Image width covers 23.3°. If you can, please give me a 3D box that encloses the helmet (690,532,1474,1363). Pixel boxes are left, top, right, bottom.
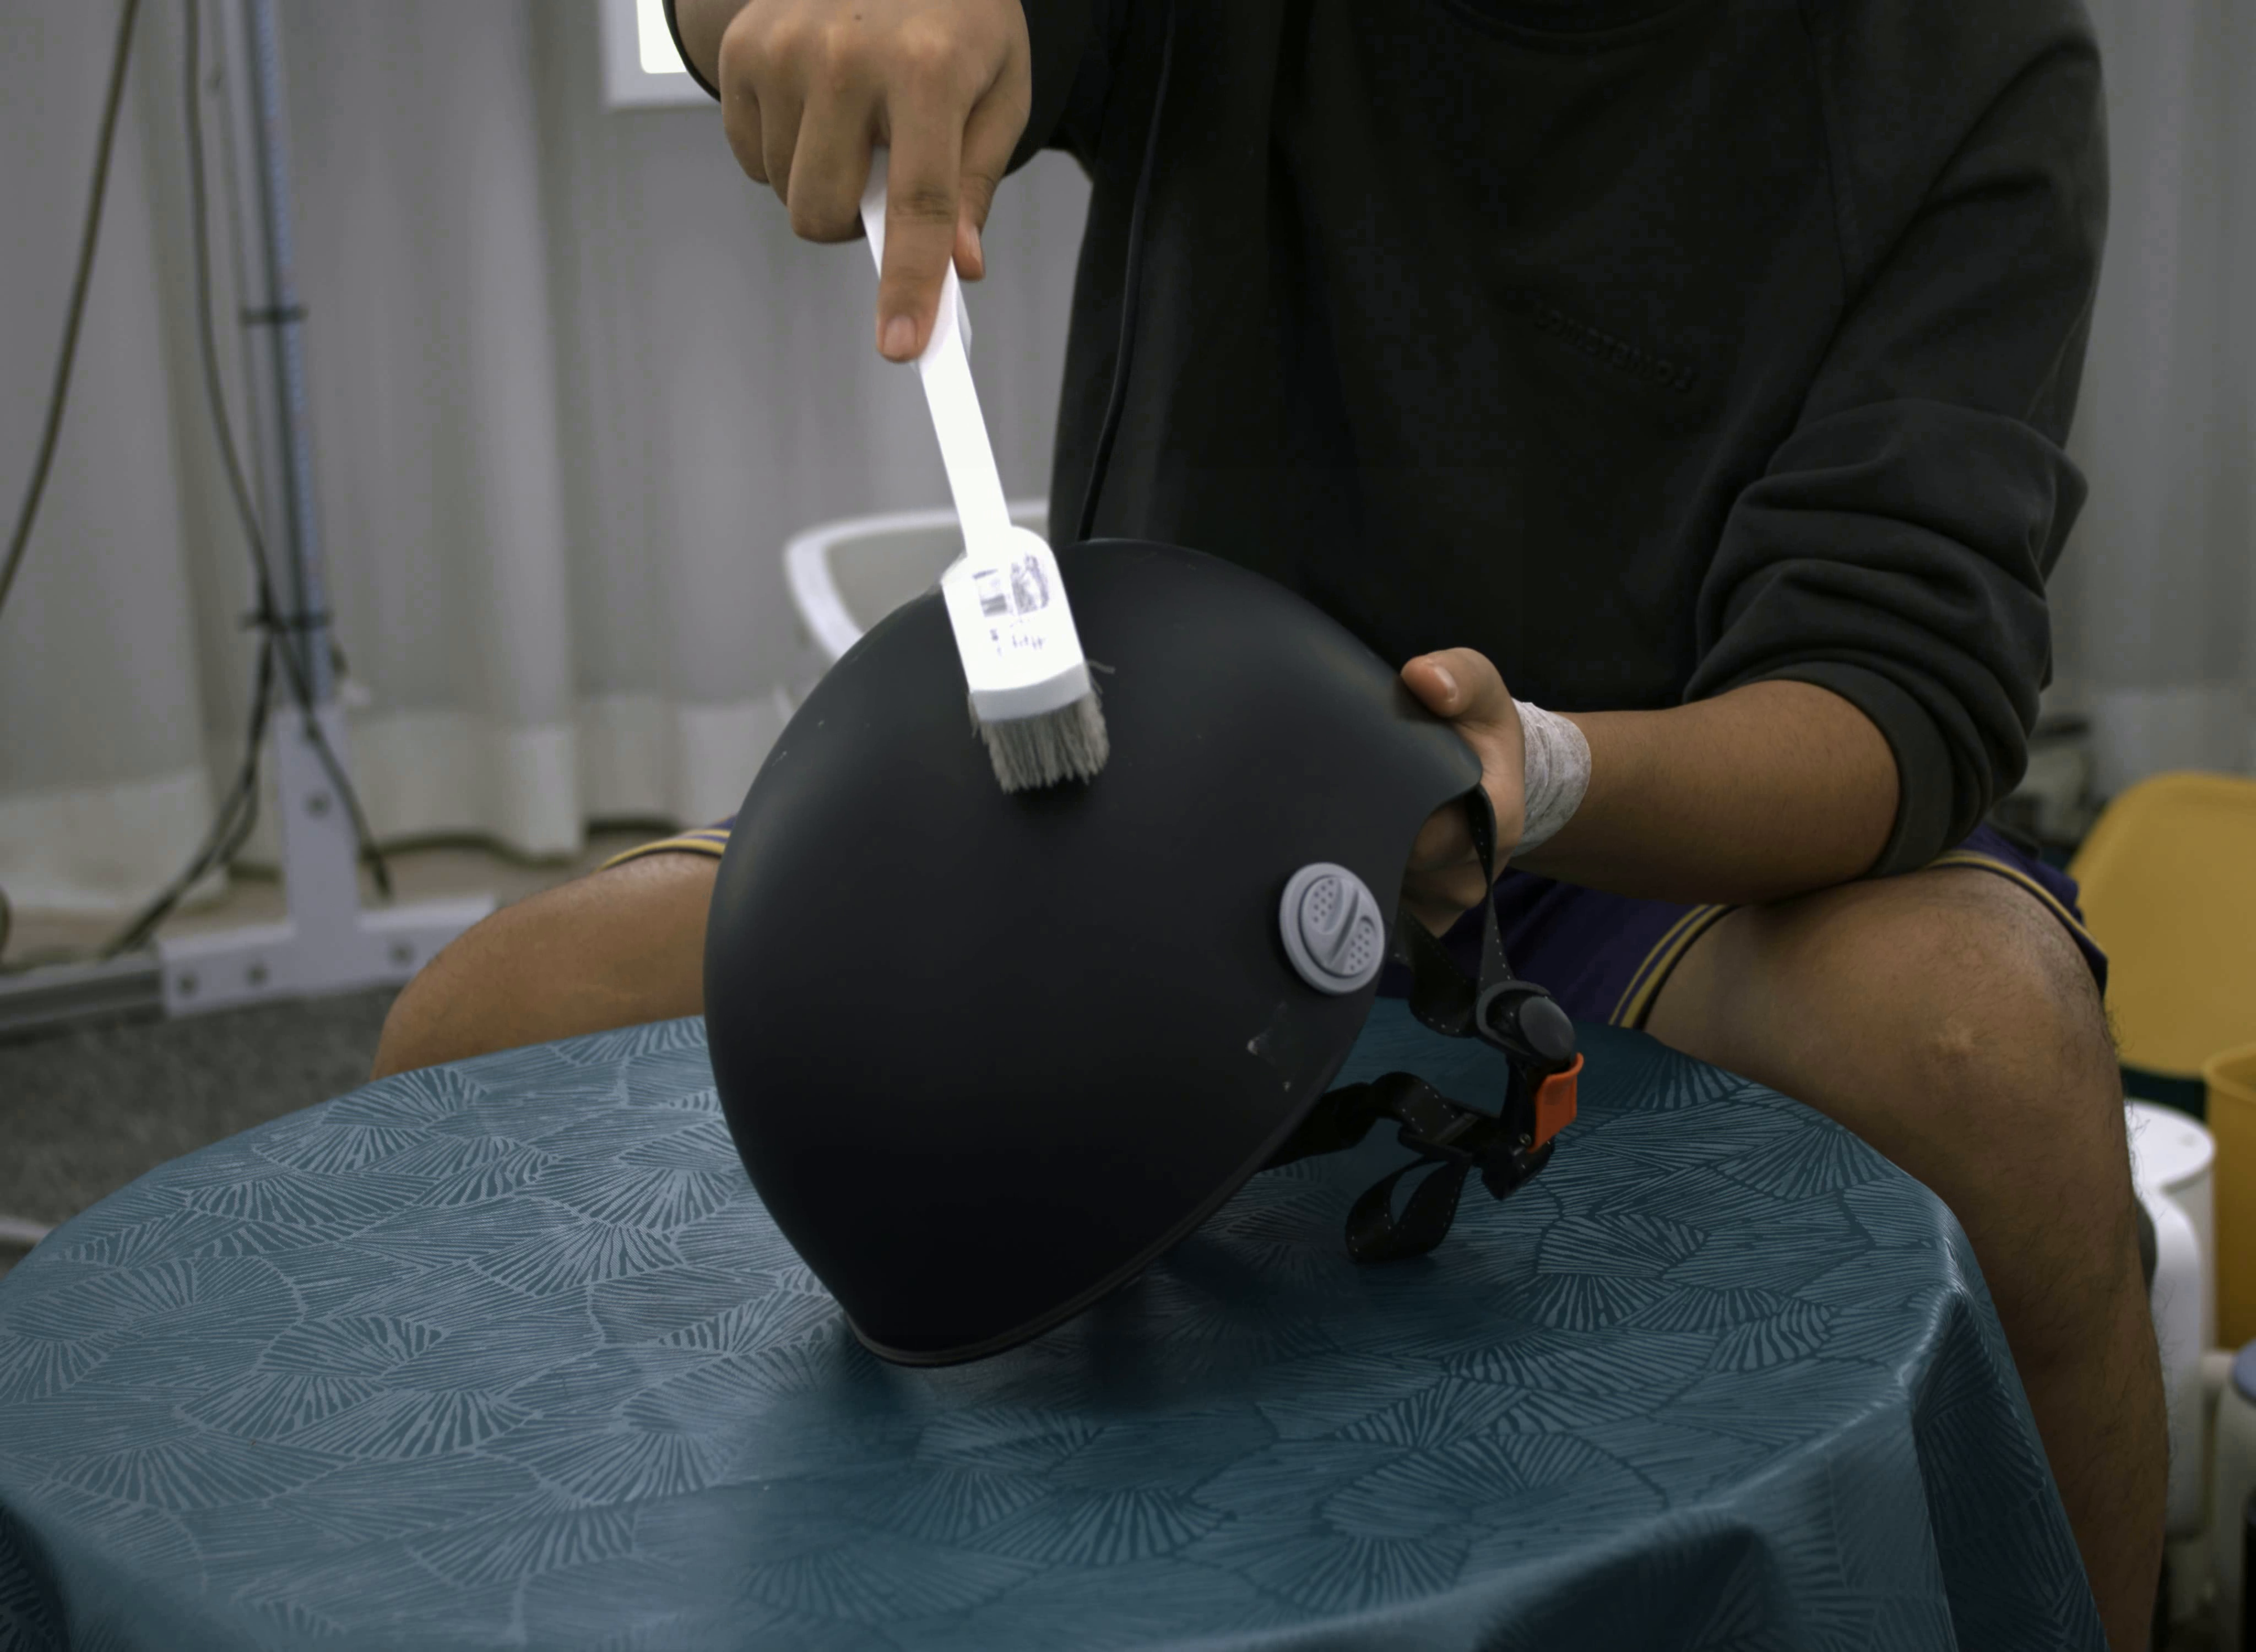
[{"bbox_3d":[-0.031,0.015,1.612,0.229,0.165,0.276,-25,21,40],"label":"helmet"}]

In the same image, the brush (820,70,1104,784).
[{"bbox_3d":[-0.050,-0.115,1.568,0.034,0.049,0.247,-16,55,-2],"label":"brush"}]
